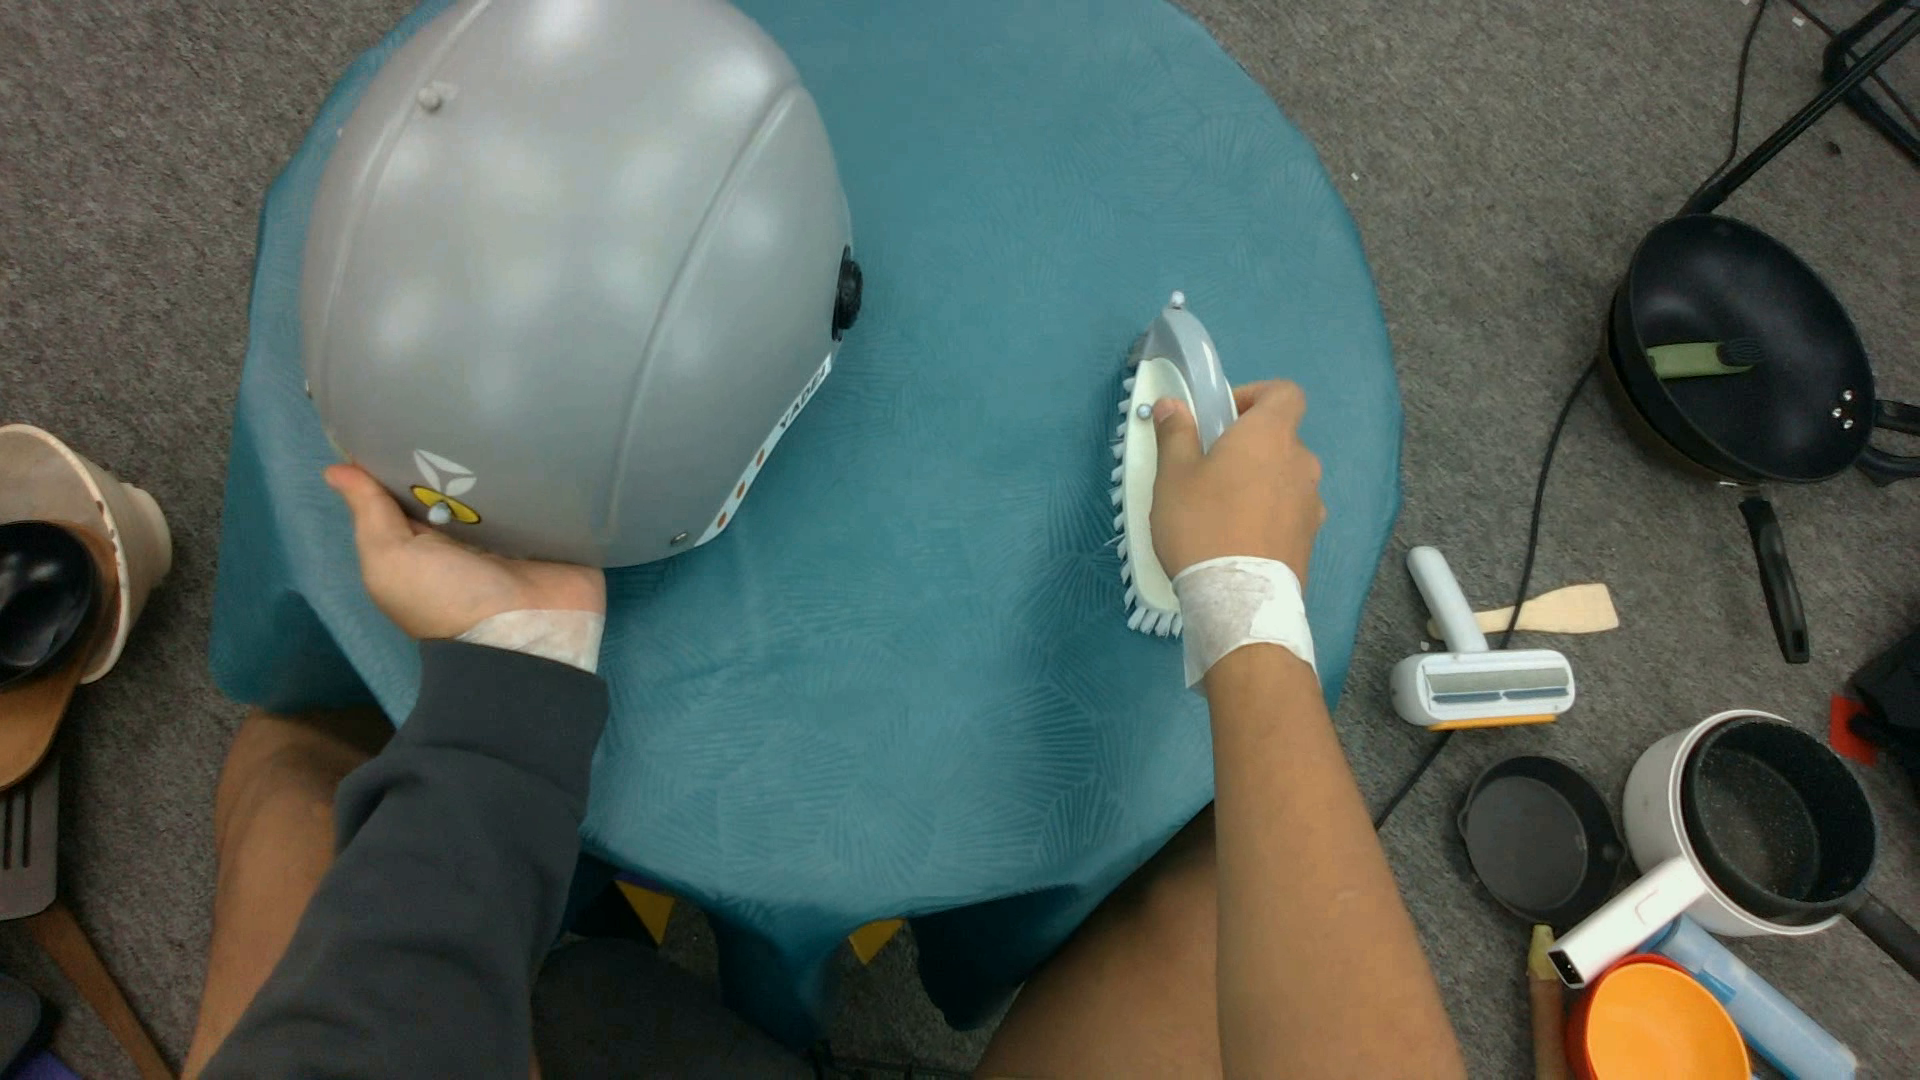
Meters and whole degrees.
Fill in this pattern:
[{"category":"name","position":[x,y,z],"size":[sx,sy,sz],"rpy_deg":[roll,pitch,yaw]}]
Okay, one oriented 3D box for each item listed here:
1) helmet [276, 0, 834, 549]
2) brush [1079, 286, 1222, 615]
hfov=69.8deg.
[{"category":"helmet","position":[-0.168,-0.140,0.585],"size":[0.232,0.168,0.277],"rpy_deg":[22,73,-7]},{"category":"brush","position":[0.097,-0.059,0.685],"size":[0.061,0.094,0.176],"rpy_deg":[3,66,-12]}]
